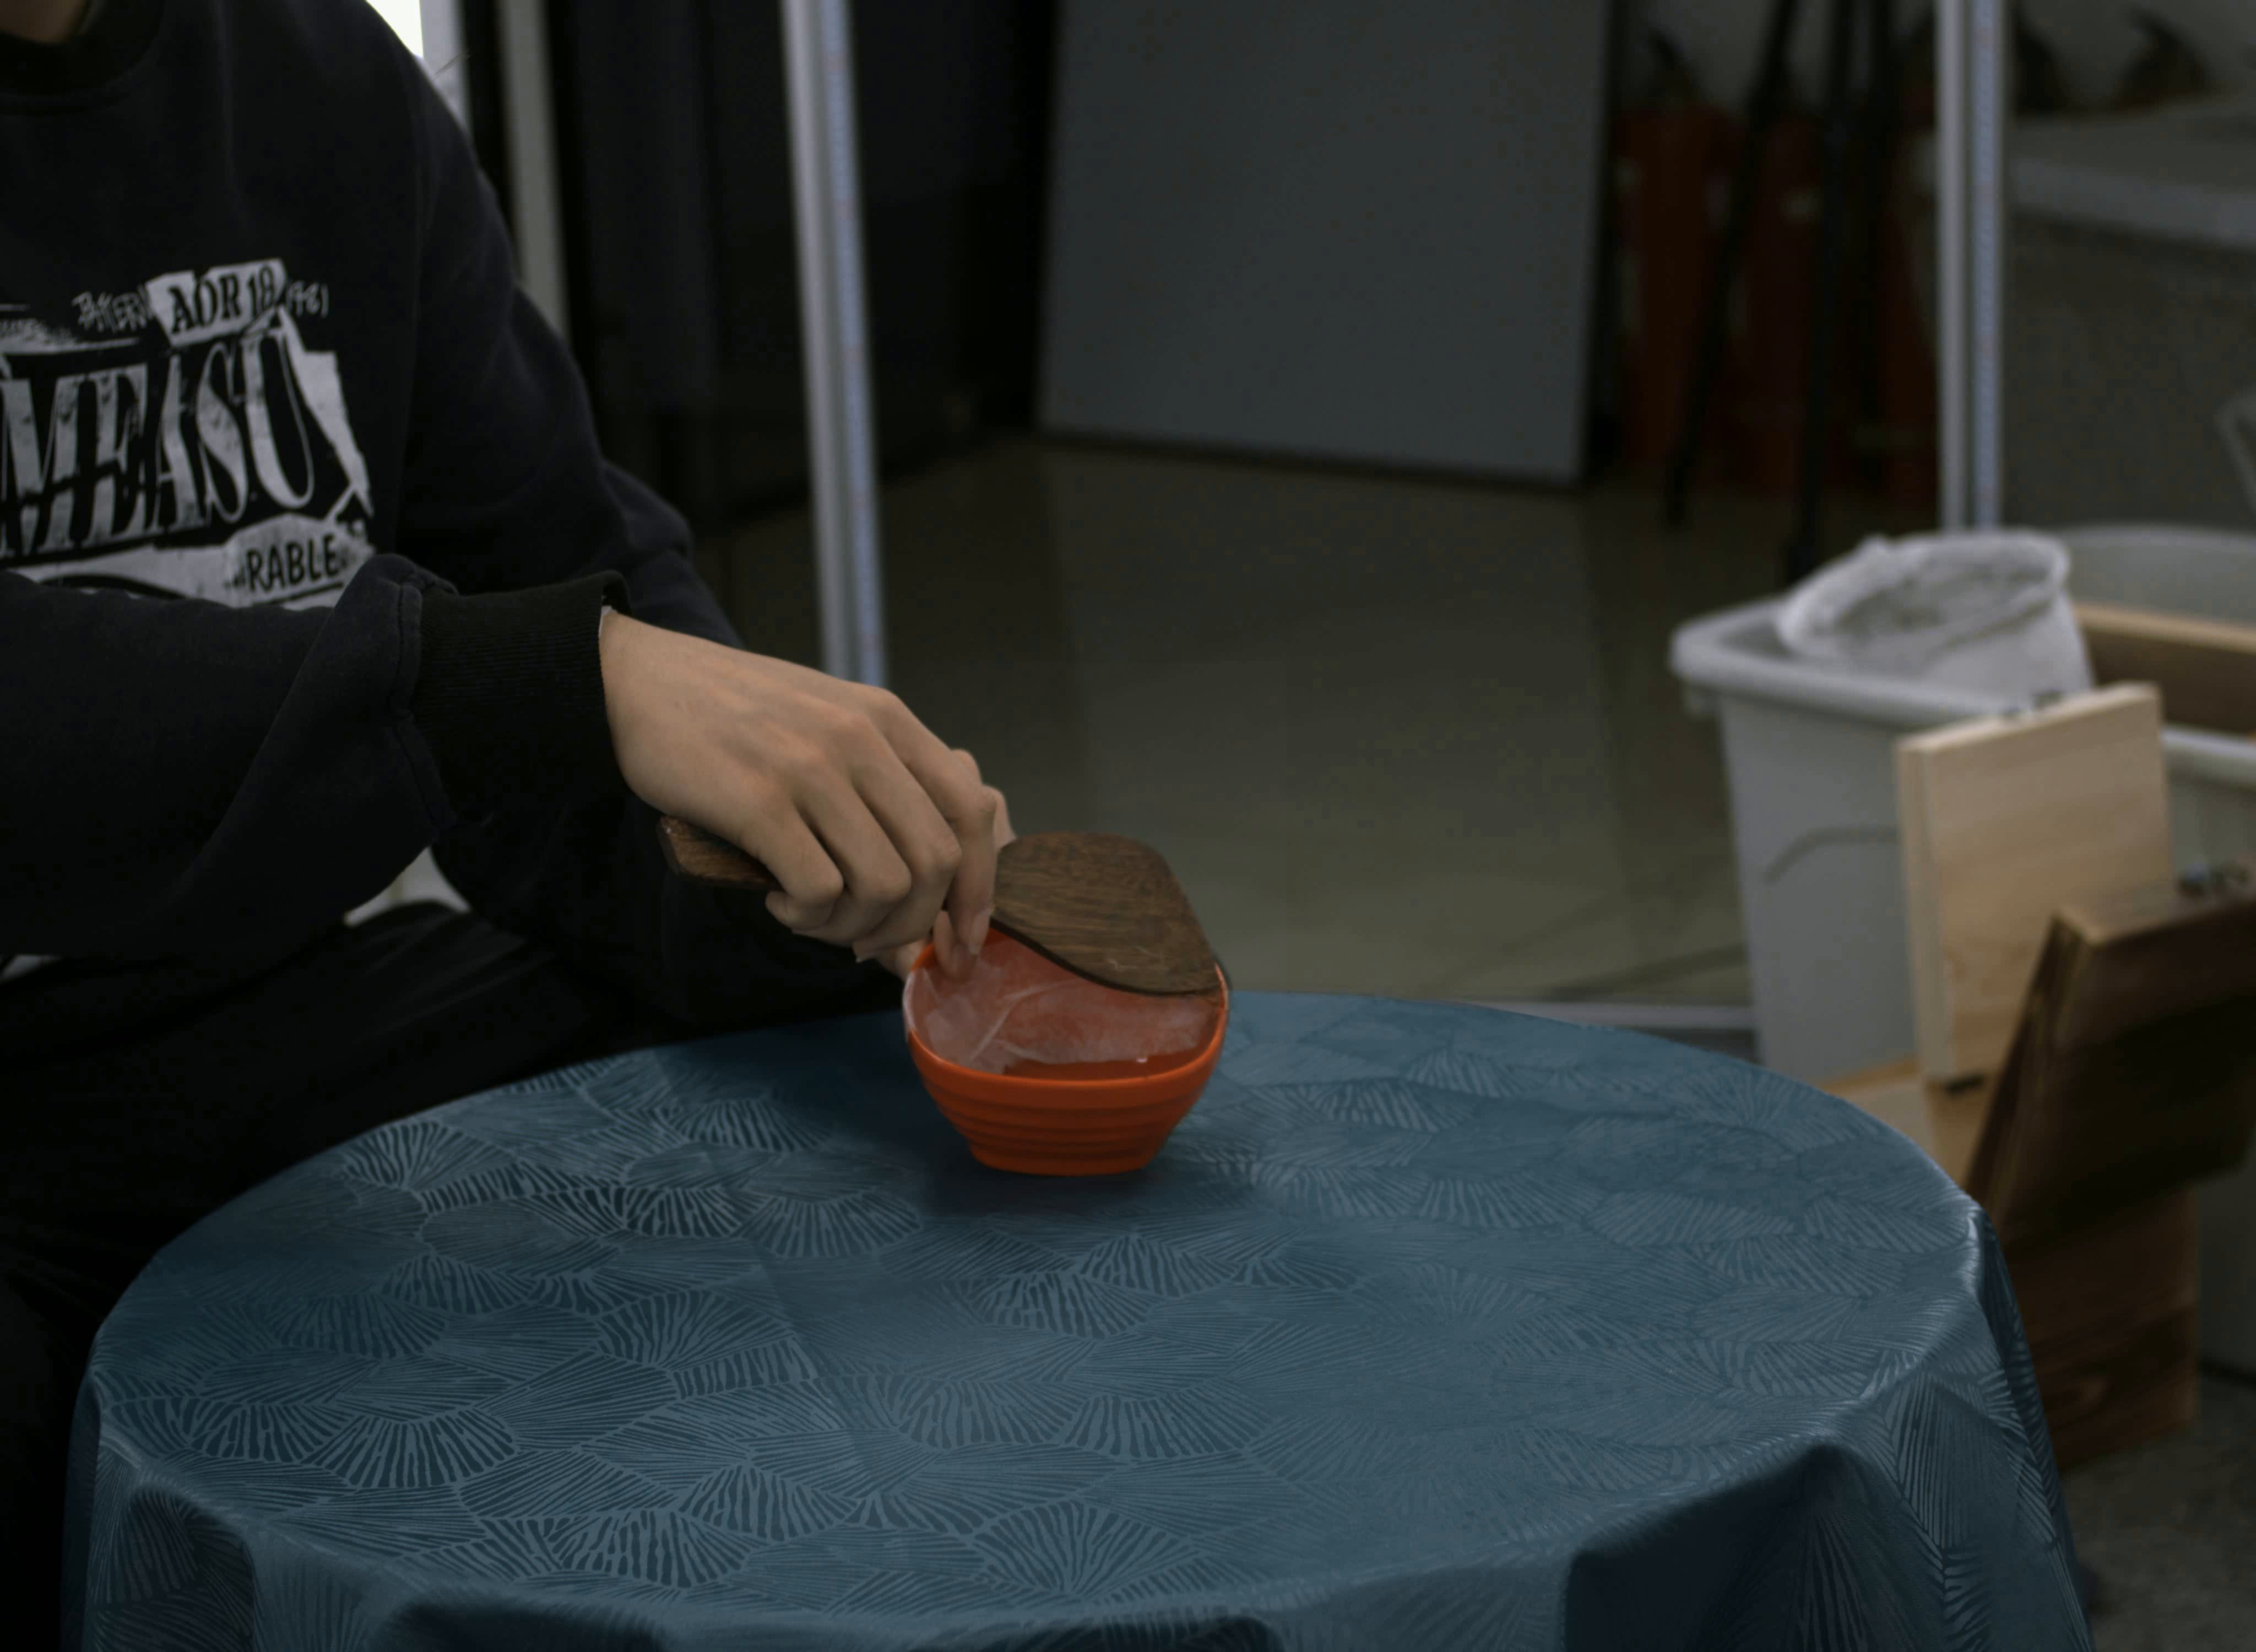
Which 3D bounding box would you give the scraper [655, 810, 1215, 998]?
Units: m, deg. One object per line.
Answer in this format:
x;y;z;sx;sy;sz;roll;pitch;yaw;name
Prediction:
-0.064;0.019;1.764;0.206;0.011;0.077;10;39;-35;scraper

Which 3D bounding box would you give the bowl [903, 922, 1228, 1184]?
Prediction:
-0.021;0.080;1.806;0.117;0.052;0.119;0;30;-1;bowl
